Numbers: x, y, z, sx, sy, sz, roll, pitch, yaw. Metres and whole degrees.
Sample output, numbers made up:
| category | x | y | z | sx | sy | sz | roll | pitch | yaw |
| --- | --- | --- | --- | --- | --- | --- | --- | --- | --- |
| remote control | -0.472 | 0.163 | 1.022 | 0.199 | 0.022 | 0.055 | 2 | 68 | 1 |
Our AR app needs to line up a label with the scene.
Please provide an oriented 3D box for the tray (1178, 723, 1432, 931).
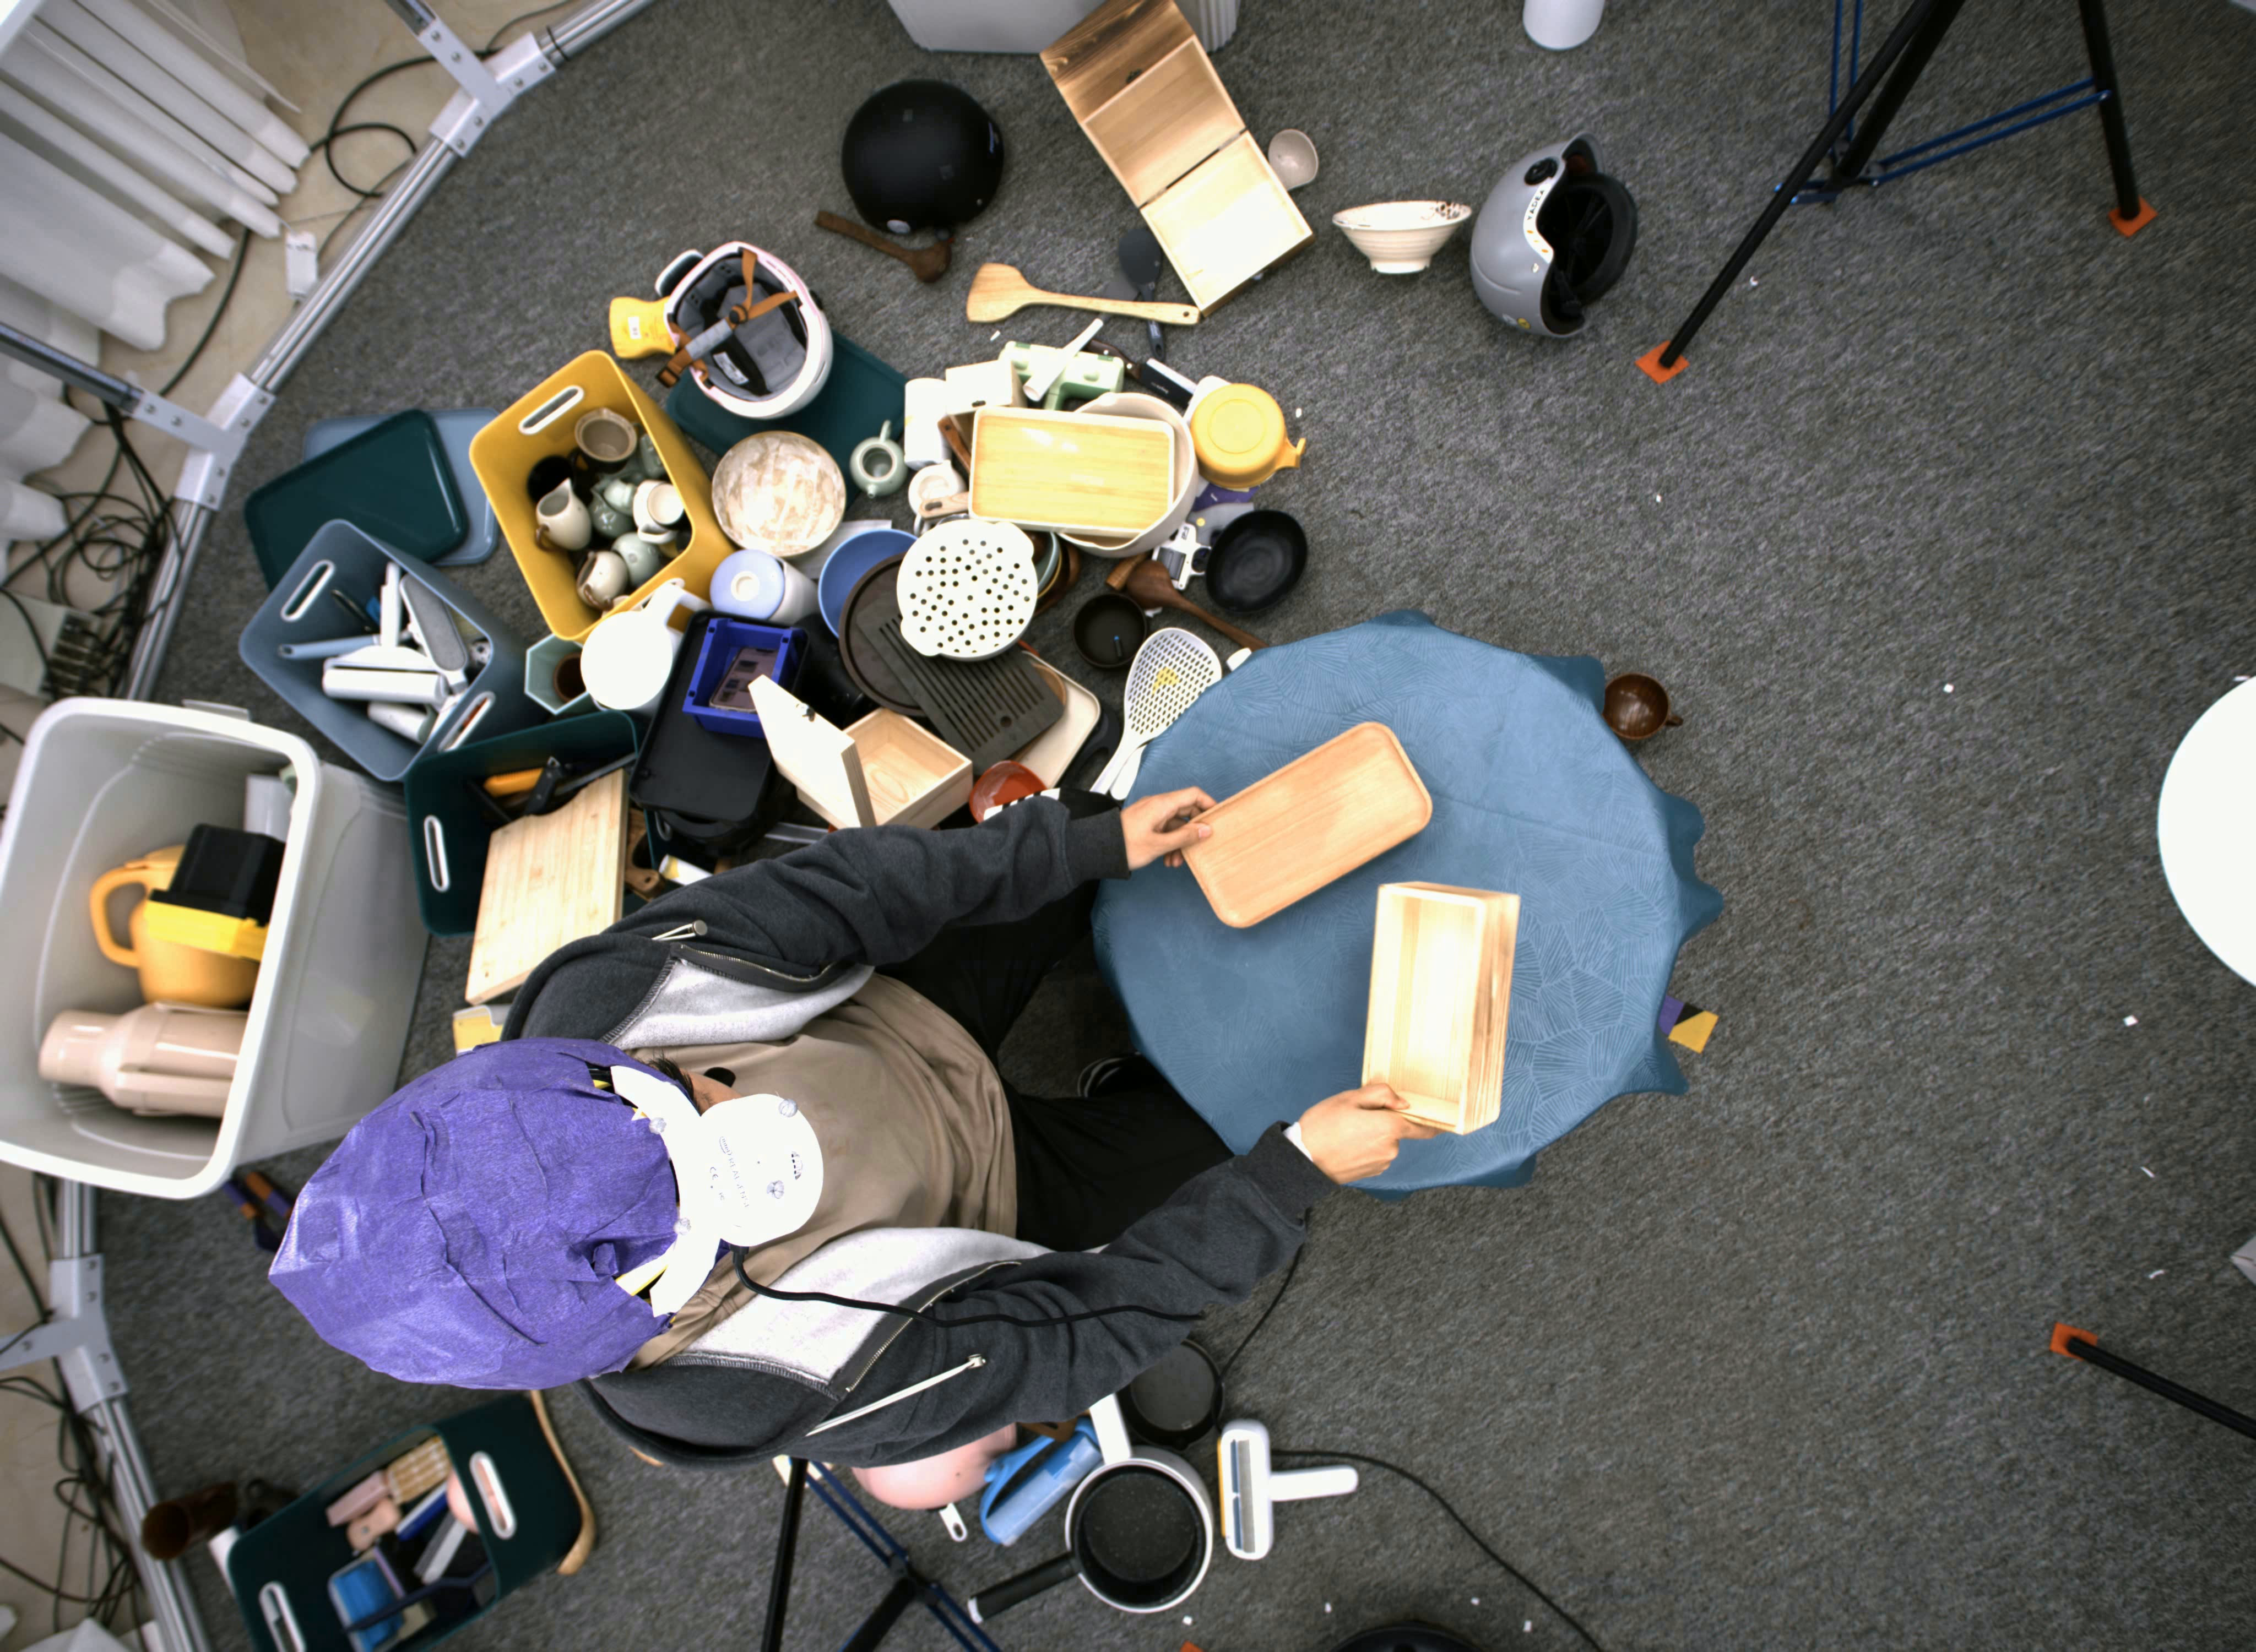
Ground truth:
| category | x | y | z | sx | sy | sz | roll | pitch | yaw |
| --- | --- | --- | --- | --- | --- | --- | --- | --- | --- |
| tray | 0.181 | 0.000 | 1.420 | 0.252 | 0.023 | 0.130 | -29 | 88 | 7 |

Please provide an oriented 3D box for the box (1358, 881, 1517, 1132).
| category | x | y | z | sx | sy | sz | roll | pitch | yaw |
| --- | --- | --- | --- | --- | --- | --- | --- | --- | --- |
| box | 0.285 | 0.160 | 1.274 | 0.108 | 0.079 | 0.212 | 8 | 98 | 40 |
